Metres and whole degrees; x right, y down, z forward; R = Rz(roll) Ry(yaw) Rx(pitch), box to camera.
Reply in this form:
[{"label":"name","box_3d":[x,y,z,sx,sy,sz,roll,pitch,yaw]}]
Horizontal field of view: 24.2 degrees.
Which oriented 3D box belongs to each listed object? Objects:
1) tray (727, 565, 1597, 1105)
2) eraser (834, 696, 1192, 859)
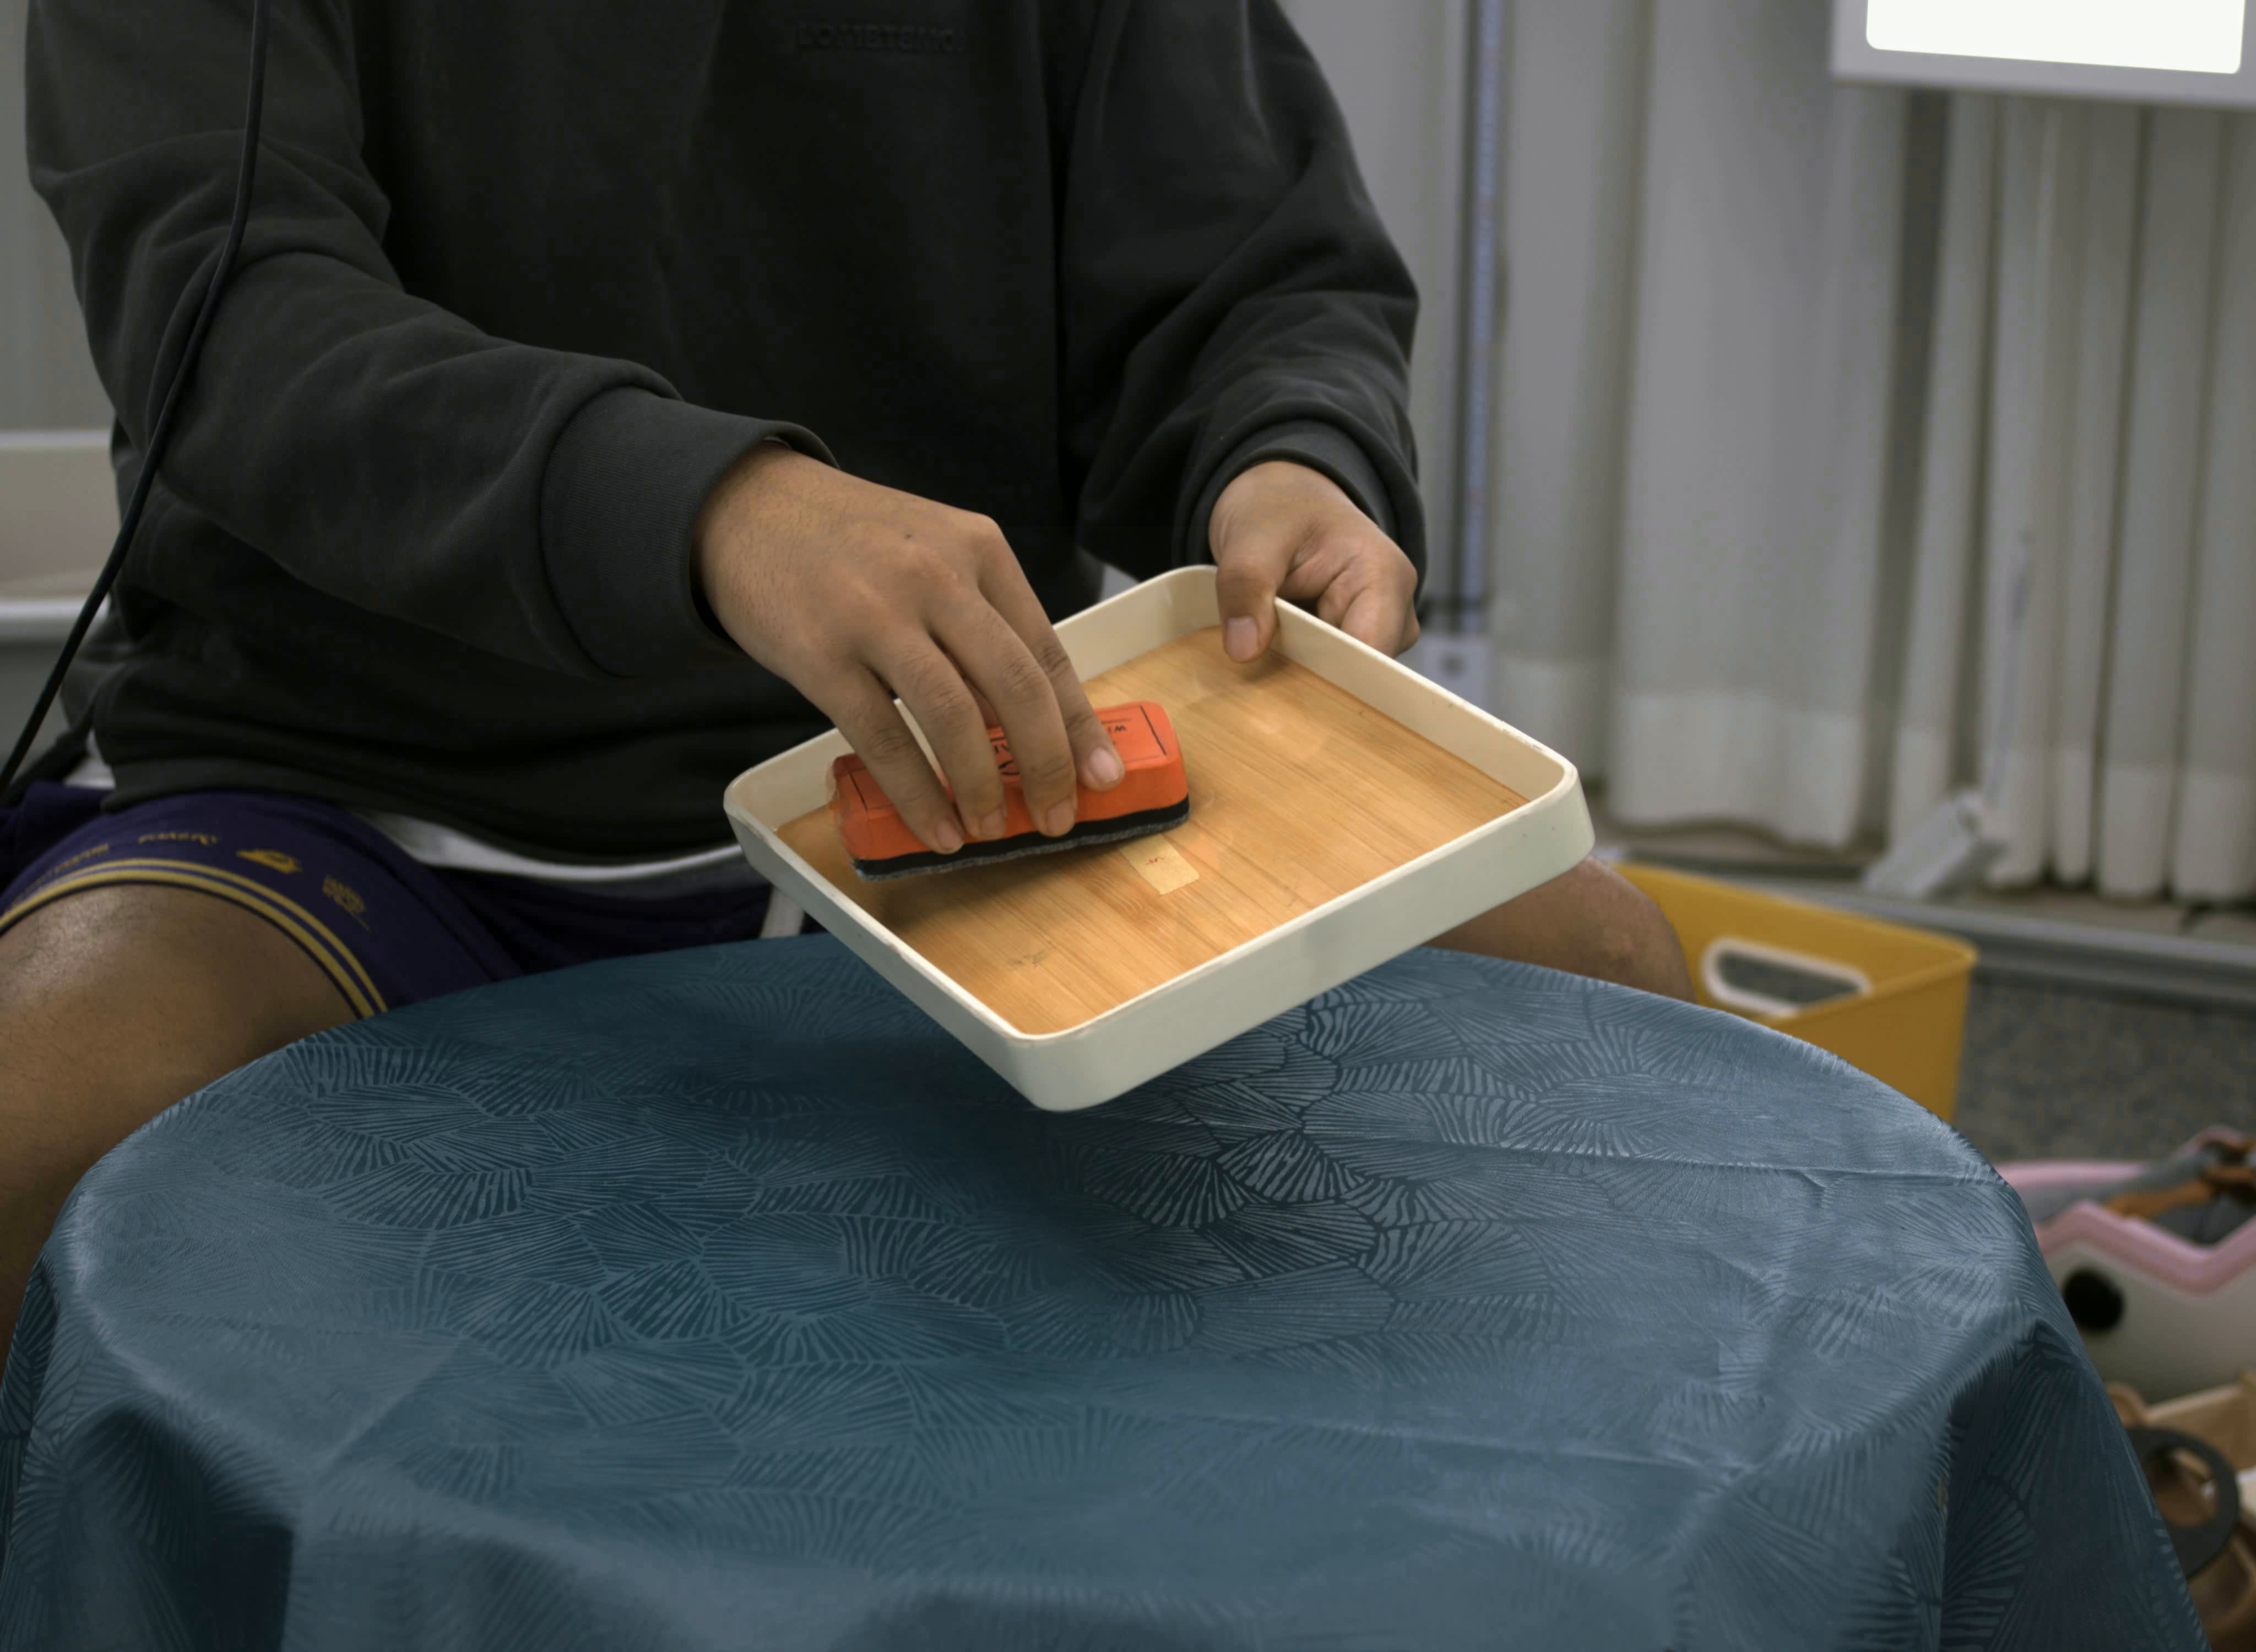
[{"label":"tray","box_3d":[0.003,-0.003,1.642,0.191,0.028,0.297,-26,23,-14]},{"label":"eraser","box_3d":[-0.037,-0.016,1.656,0.108,0.023,0.058,-12,13,-7]}]
